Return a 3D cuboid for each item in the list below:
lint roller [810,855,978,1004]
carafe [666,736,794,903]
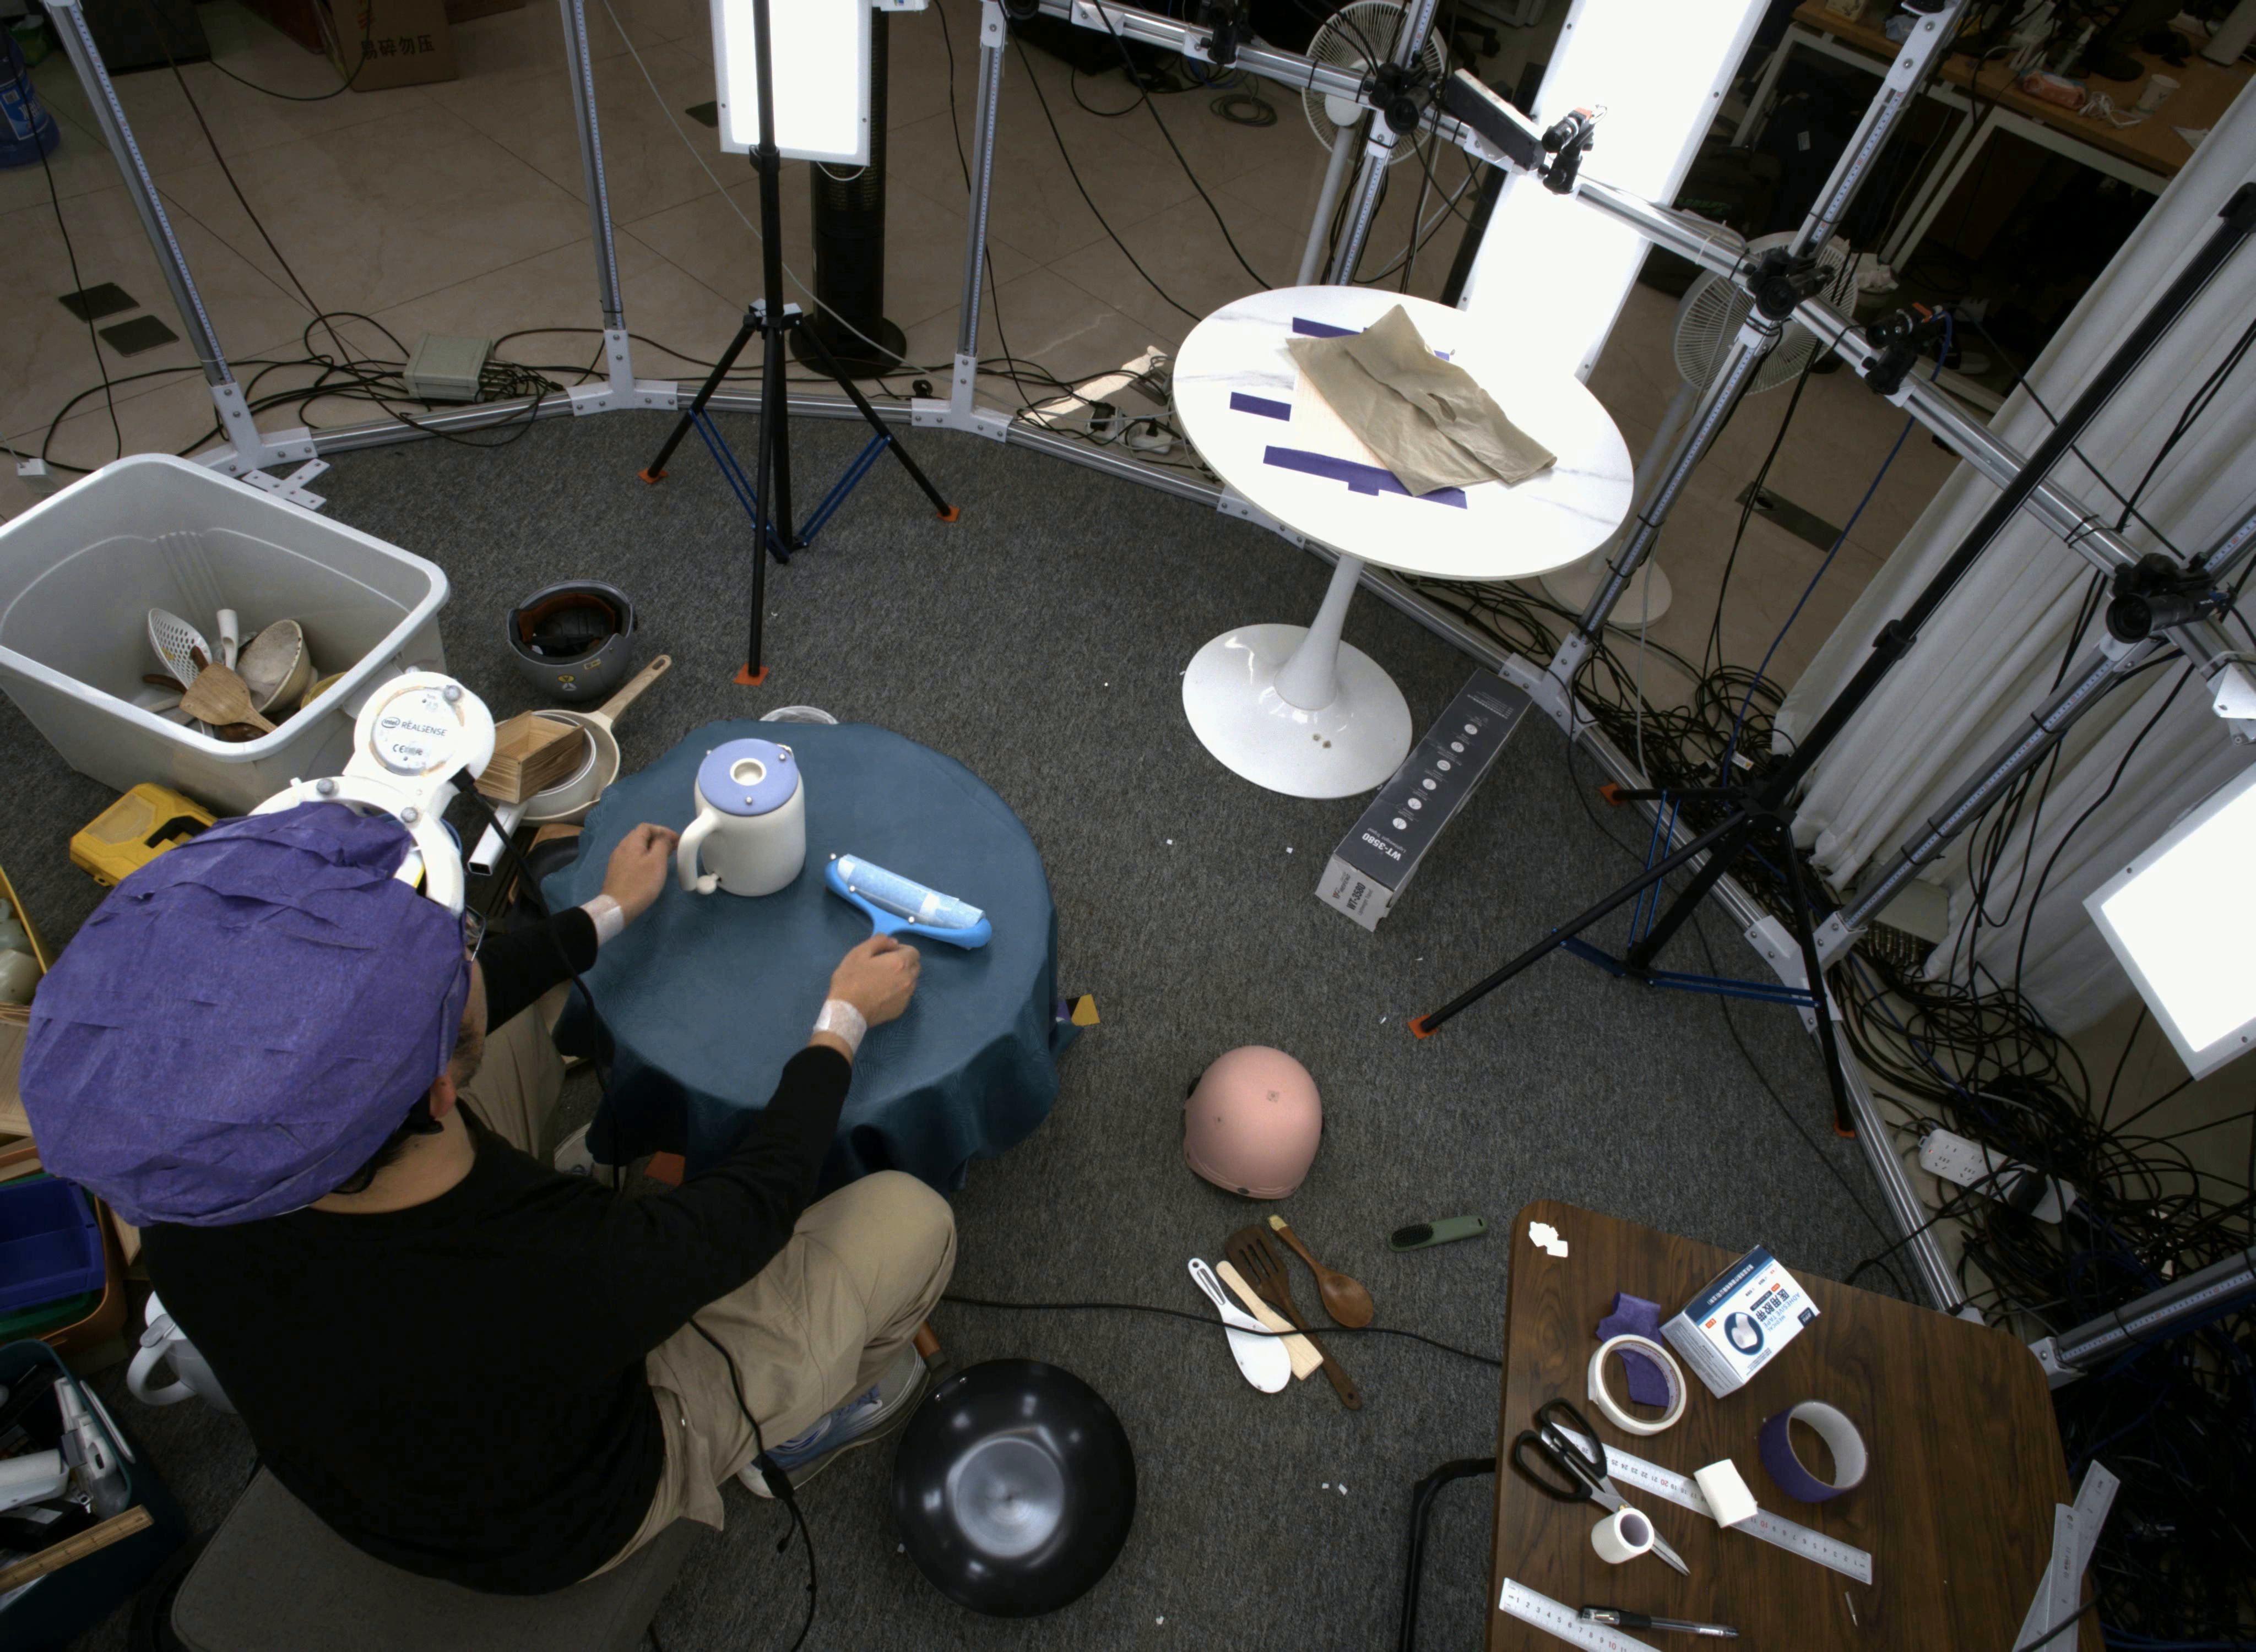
[{"bbox_3d":[-0.313,0.135,1.609,0.227,0.069,0.178,23,46,-1],"label":"lint roller"},{"bbox_3d":[-0.497,0.005,1.585,0.130,0.186,0.190,30,54,12],"label":"carafe"}]
